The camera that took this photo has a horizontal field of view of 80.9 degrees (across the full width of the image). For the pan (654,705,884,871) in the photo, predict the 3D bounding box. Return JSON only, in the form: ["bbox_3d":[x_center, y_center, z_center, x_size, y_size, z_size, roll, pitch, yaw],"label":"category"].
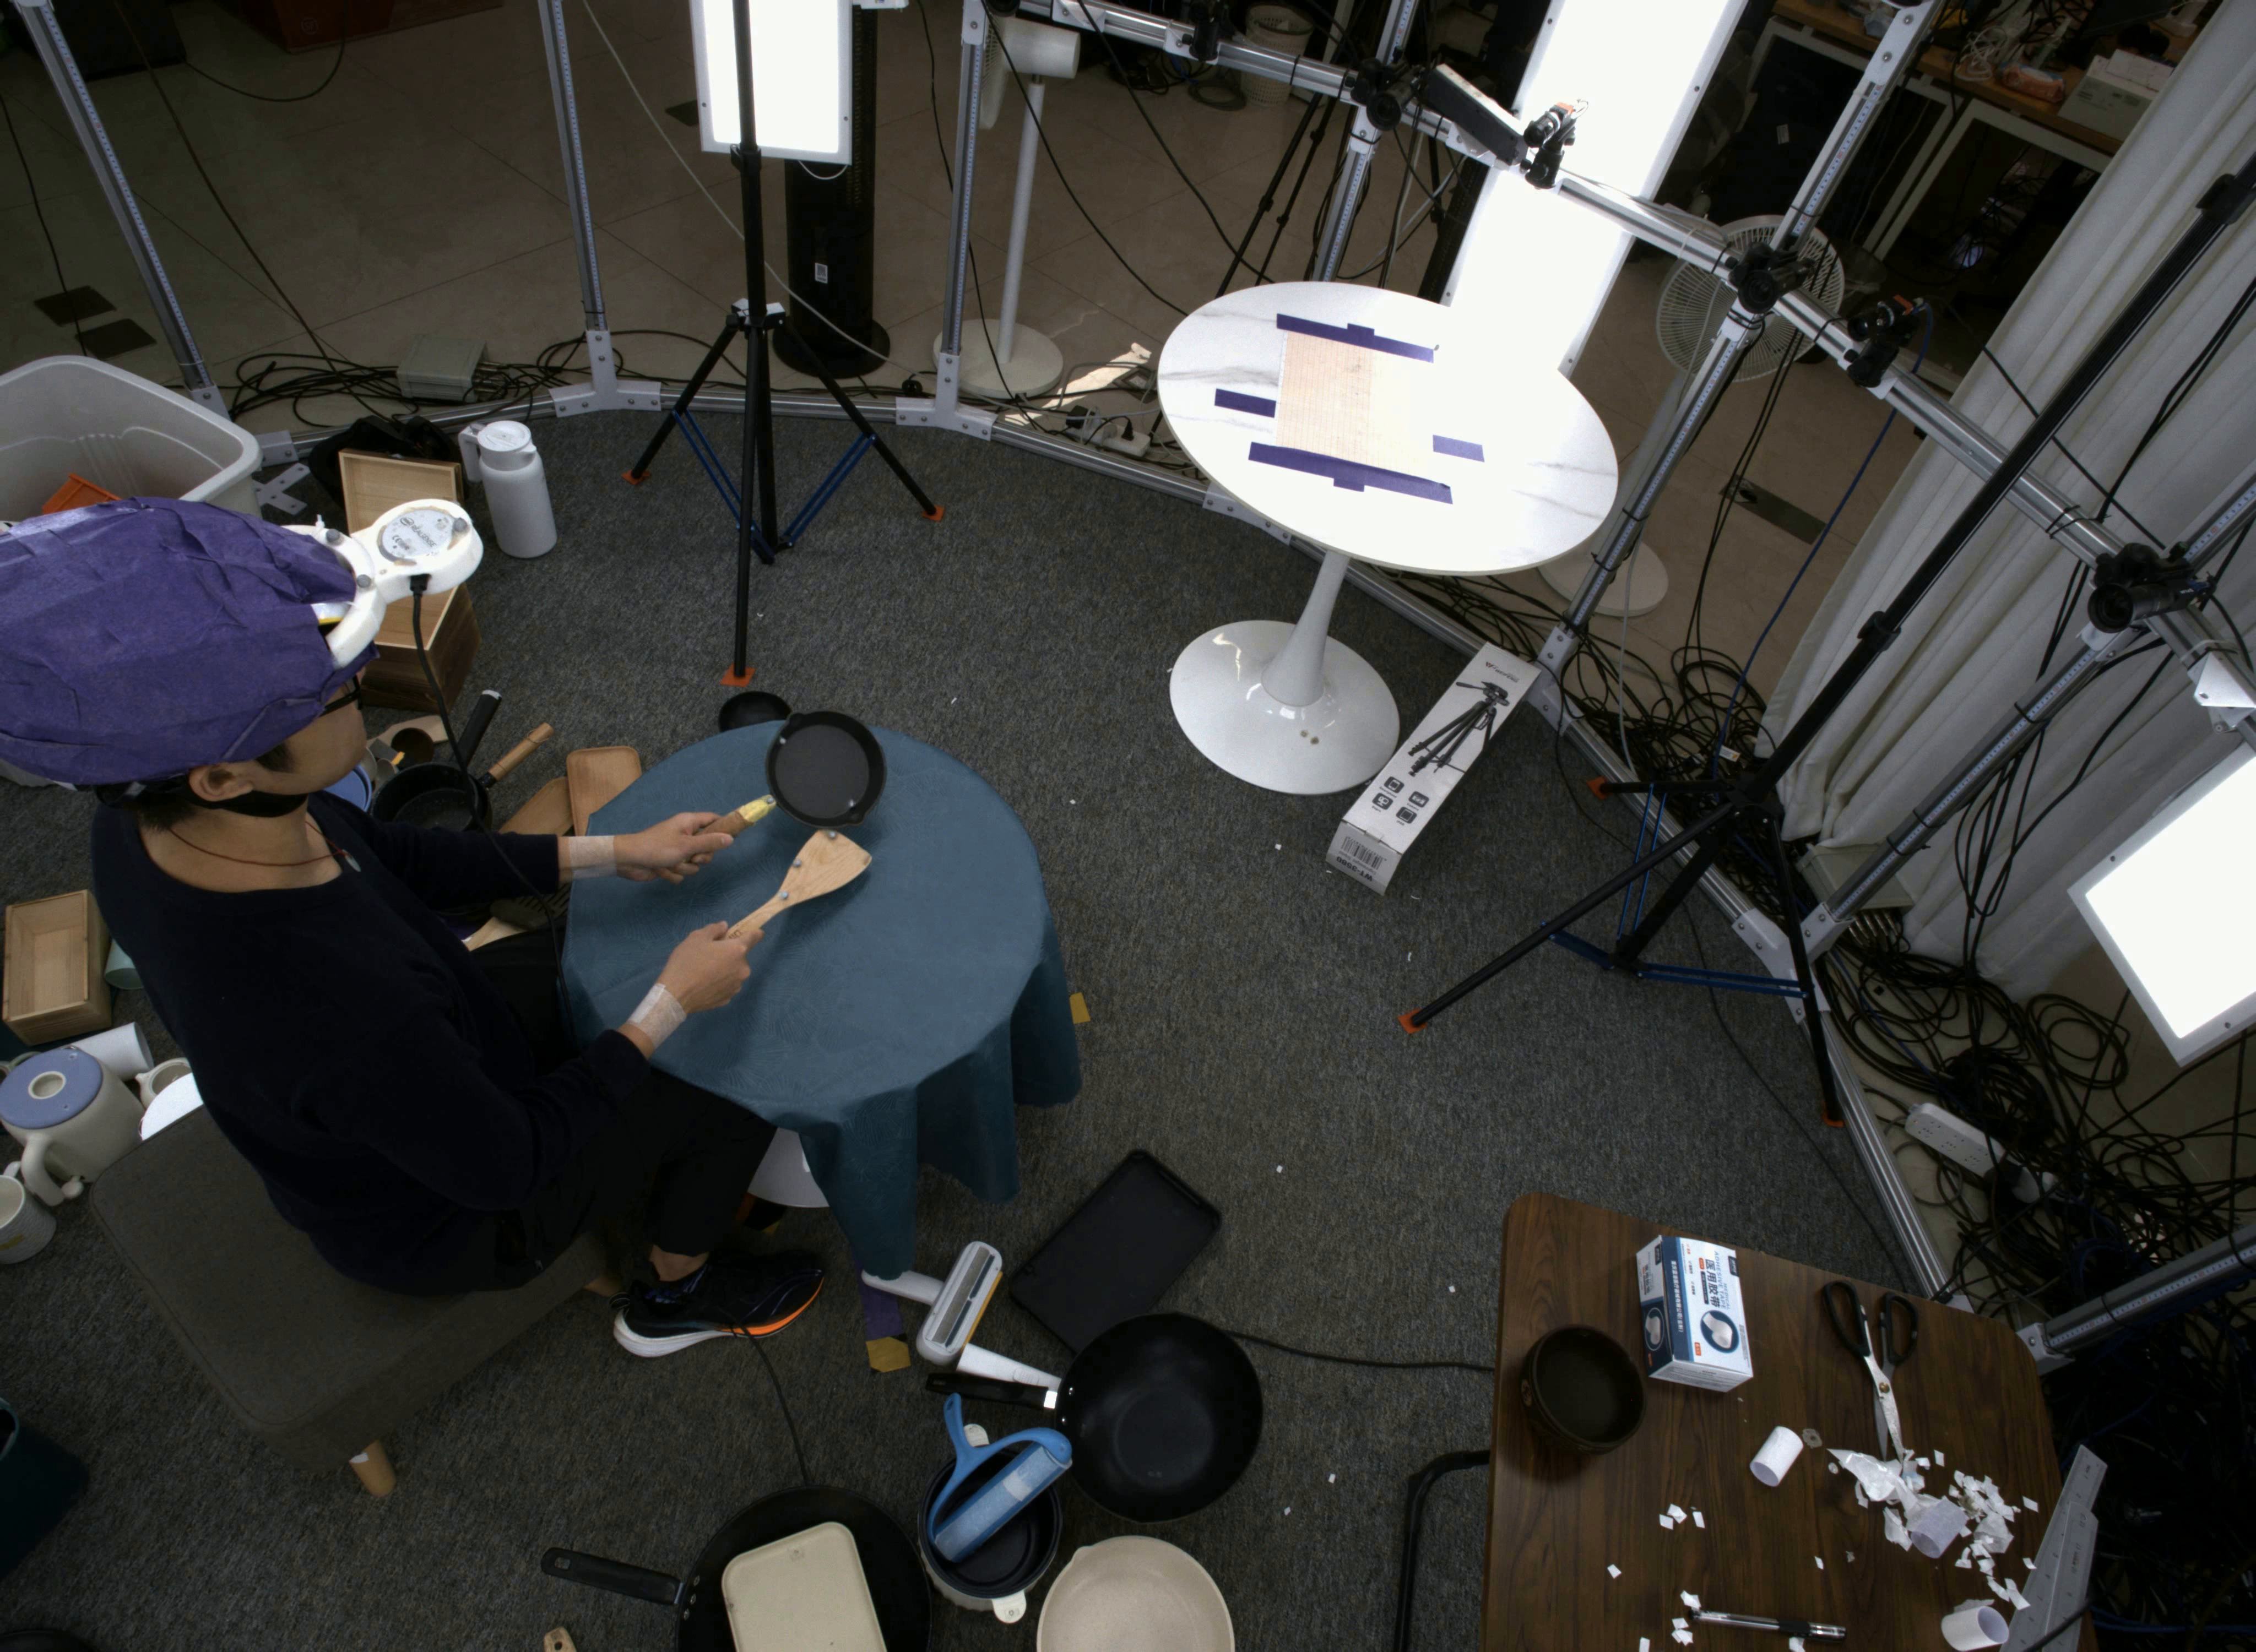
[{"bbox_3d":[-0.457,-0.034,1.632,0.325,0.048,0.172,-33,103,-26],"label":"pan"}]

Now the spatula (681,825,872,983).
[{"bbox_3d":[-0.424,0.090,1.554,0.080,0.016,0.326,42,36,-1],"label":"spatula"}]
